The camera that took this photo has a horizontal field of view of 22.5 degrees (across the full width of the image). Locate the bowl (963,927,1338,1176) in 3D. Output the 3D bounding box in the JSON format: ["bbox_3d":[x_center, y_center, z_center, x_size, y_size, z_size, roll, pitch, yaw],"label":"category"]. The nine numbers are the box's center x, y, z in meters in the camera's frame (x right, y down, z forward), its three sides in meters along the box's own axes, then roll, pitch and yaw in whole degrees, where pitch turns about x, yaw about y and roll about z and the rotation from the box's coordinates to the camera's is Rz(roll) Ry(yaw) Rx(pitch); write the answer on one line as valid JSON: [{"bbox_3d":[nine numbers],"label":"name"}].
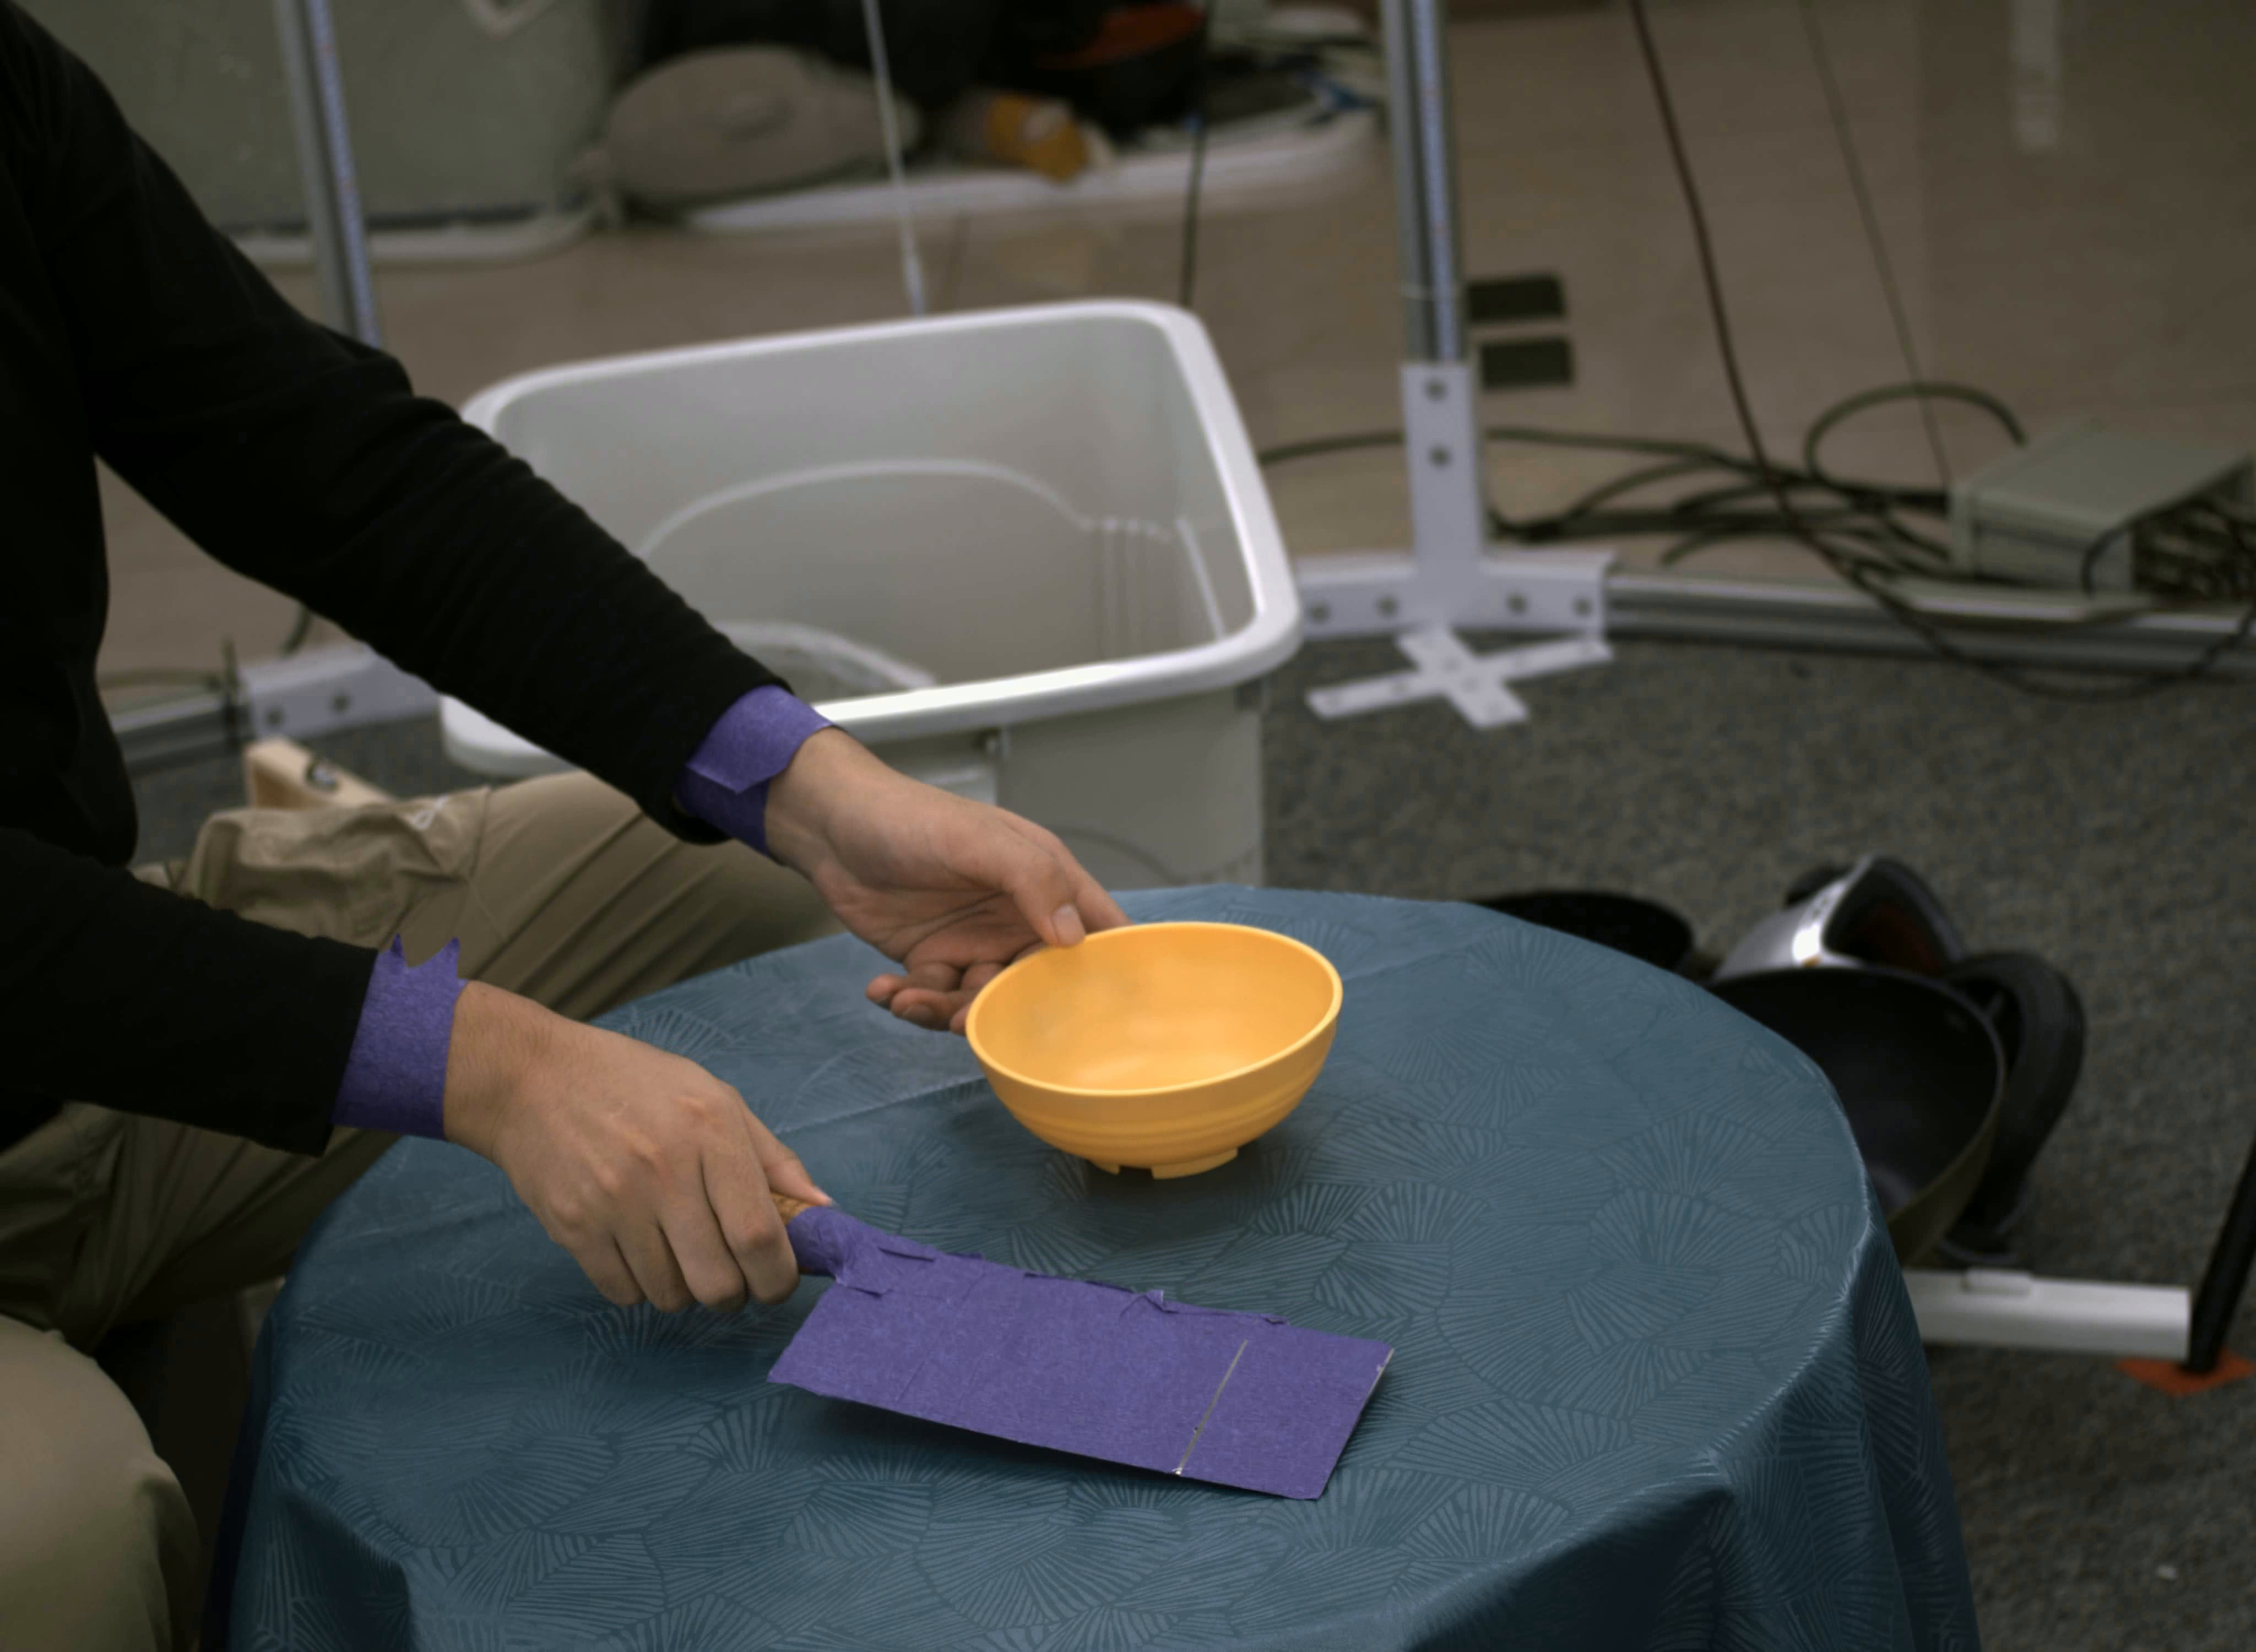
[{"bbox_3d":[0.010,0.094,2.171,0.145,0.061,0.143,-4,24,2],"label":"bowl"}]

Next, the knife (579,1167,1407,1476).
[{"bbox_3d":[-0.063,0.176,2.020,0.314,0.033,0.102,8,35,19],"label":"knife"}]
